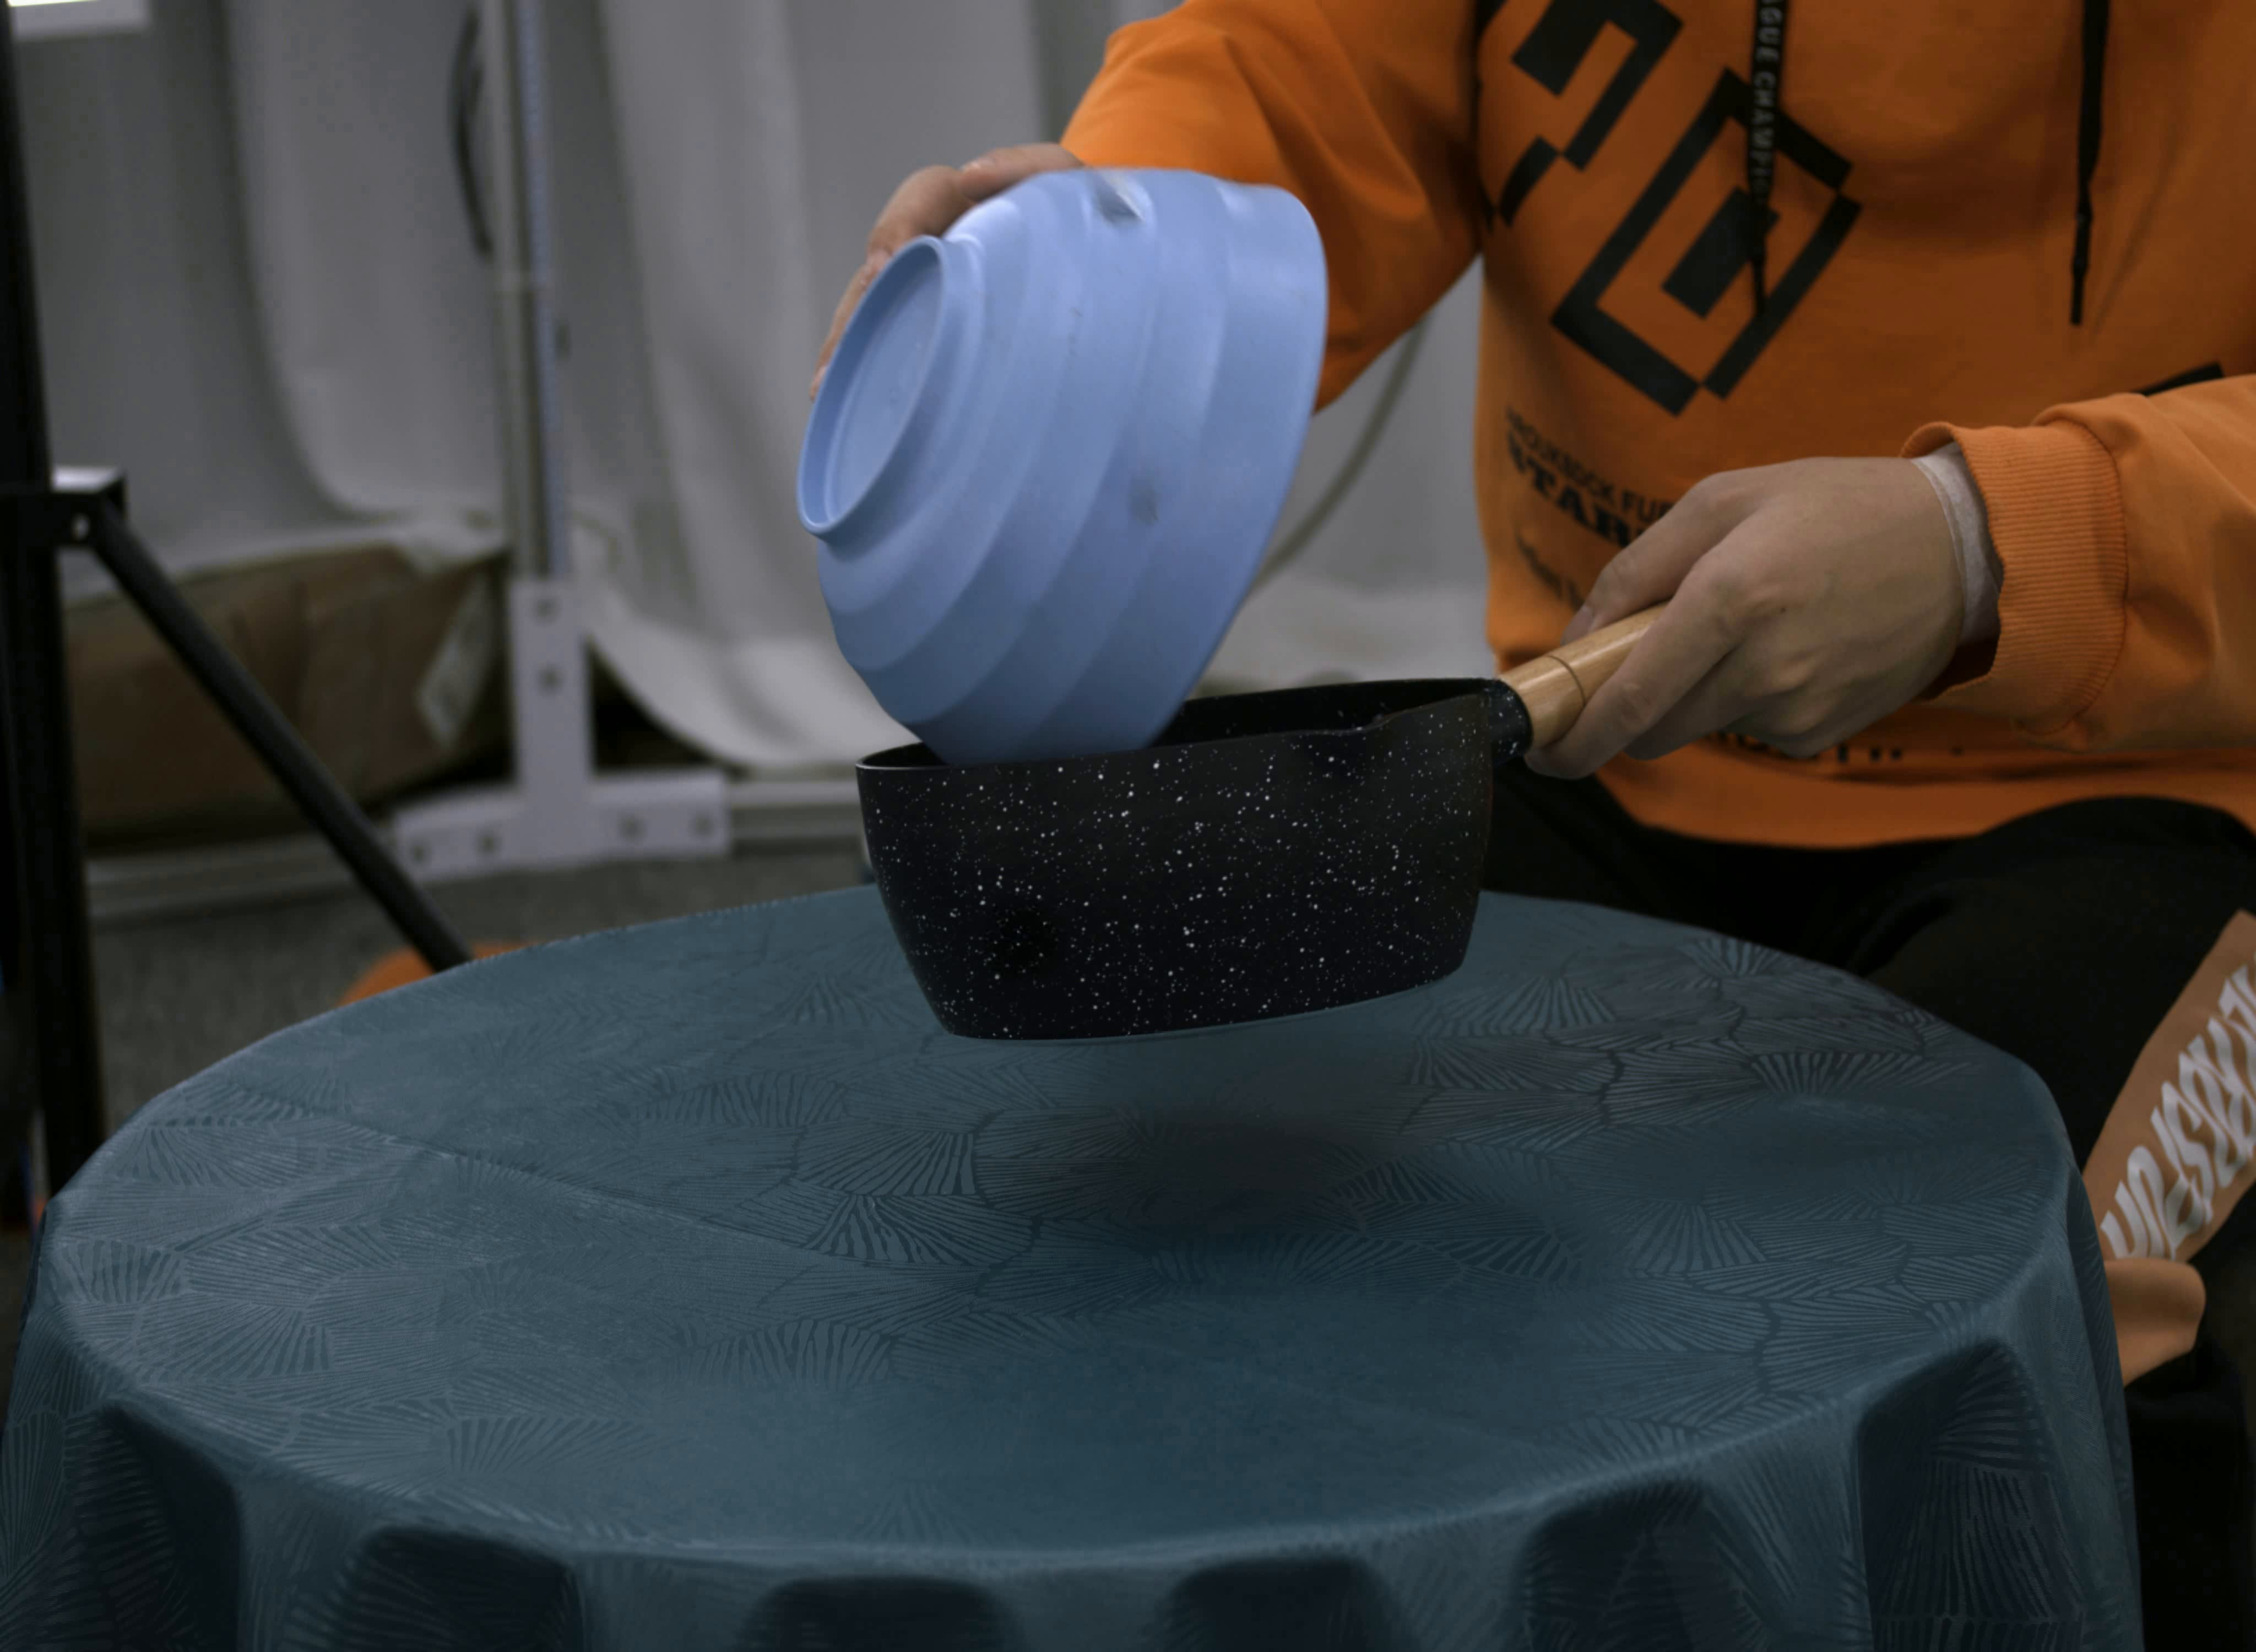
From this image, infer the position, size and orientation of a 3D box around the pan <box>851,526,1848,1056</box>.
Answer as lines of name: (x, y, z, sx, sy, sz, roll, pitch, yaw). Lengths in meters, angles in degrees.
pan: (0.081, -0.011, 1.580, 0.335, 0.108, 0.211, -11, 5, -31)

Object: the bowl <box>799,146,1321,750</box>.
bowl: (-0.033, -0.112, 1.529, 0.093, 0.197, 0.199, 20, 9, -19)
